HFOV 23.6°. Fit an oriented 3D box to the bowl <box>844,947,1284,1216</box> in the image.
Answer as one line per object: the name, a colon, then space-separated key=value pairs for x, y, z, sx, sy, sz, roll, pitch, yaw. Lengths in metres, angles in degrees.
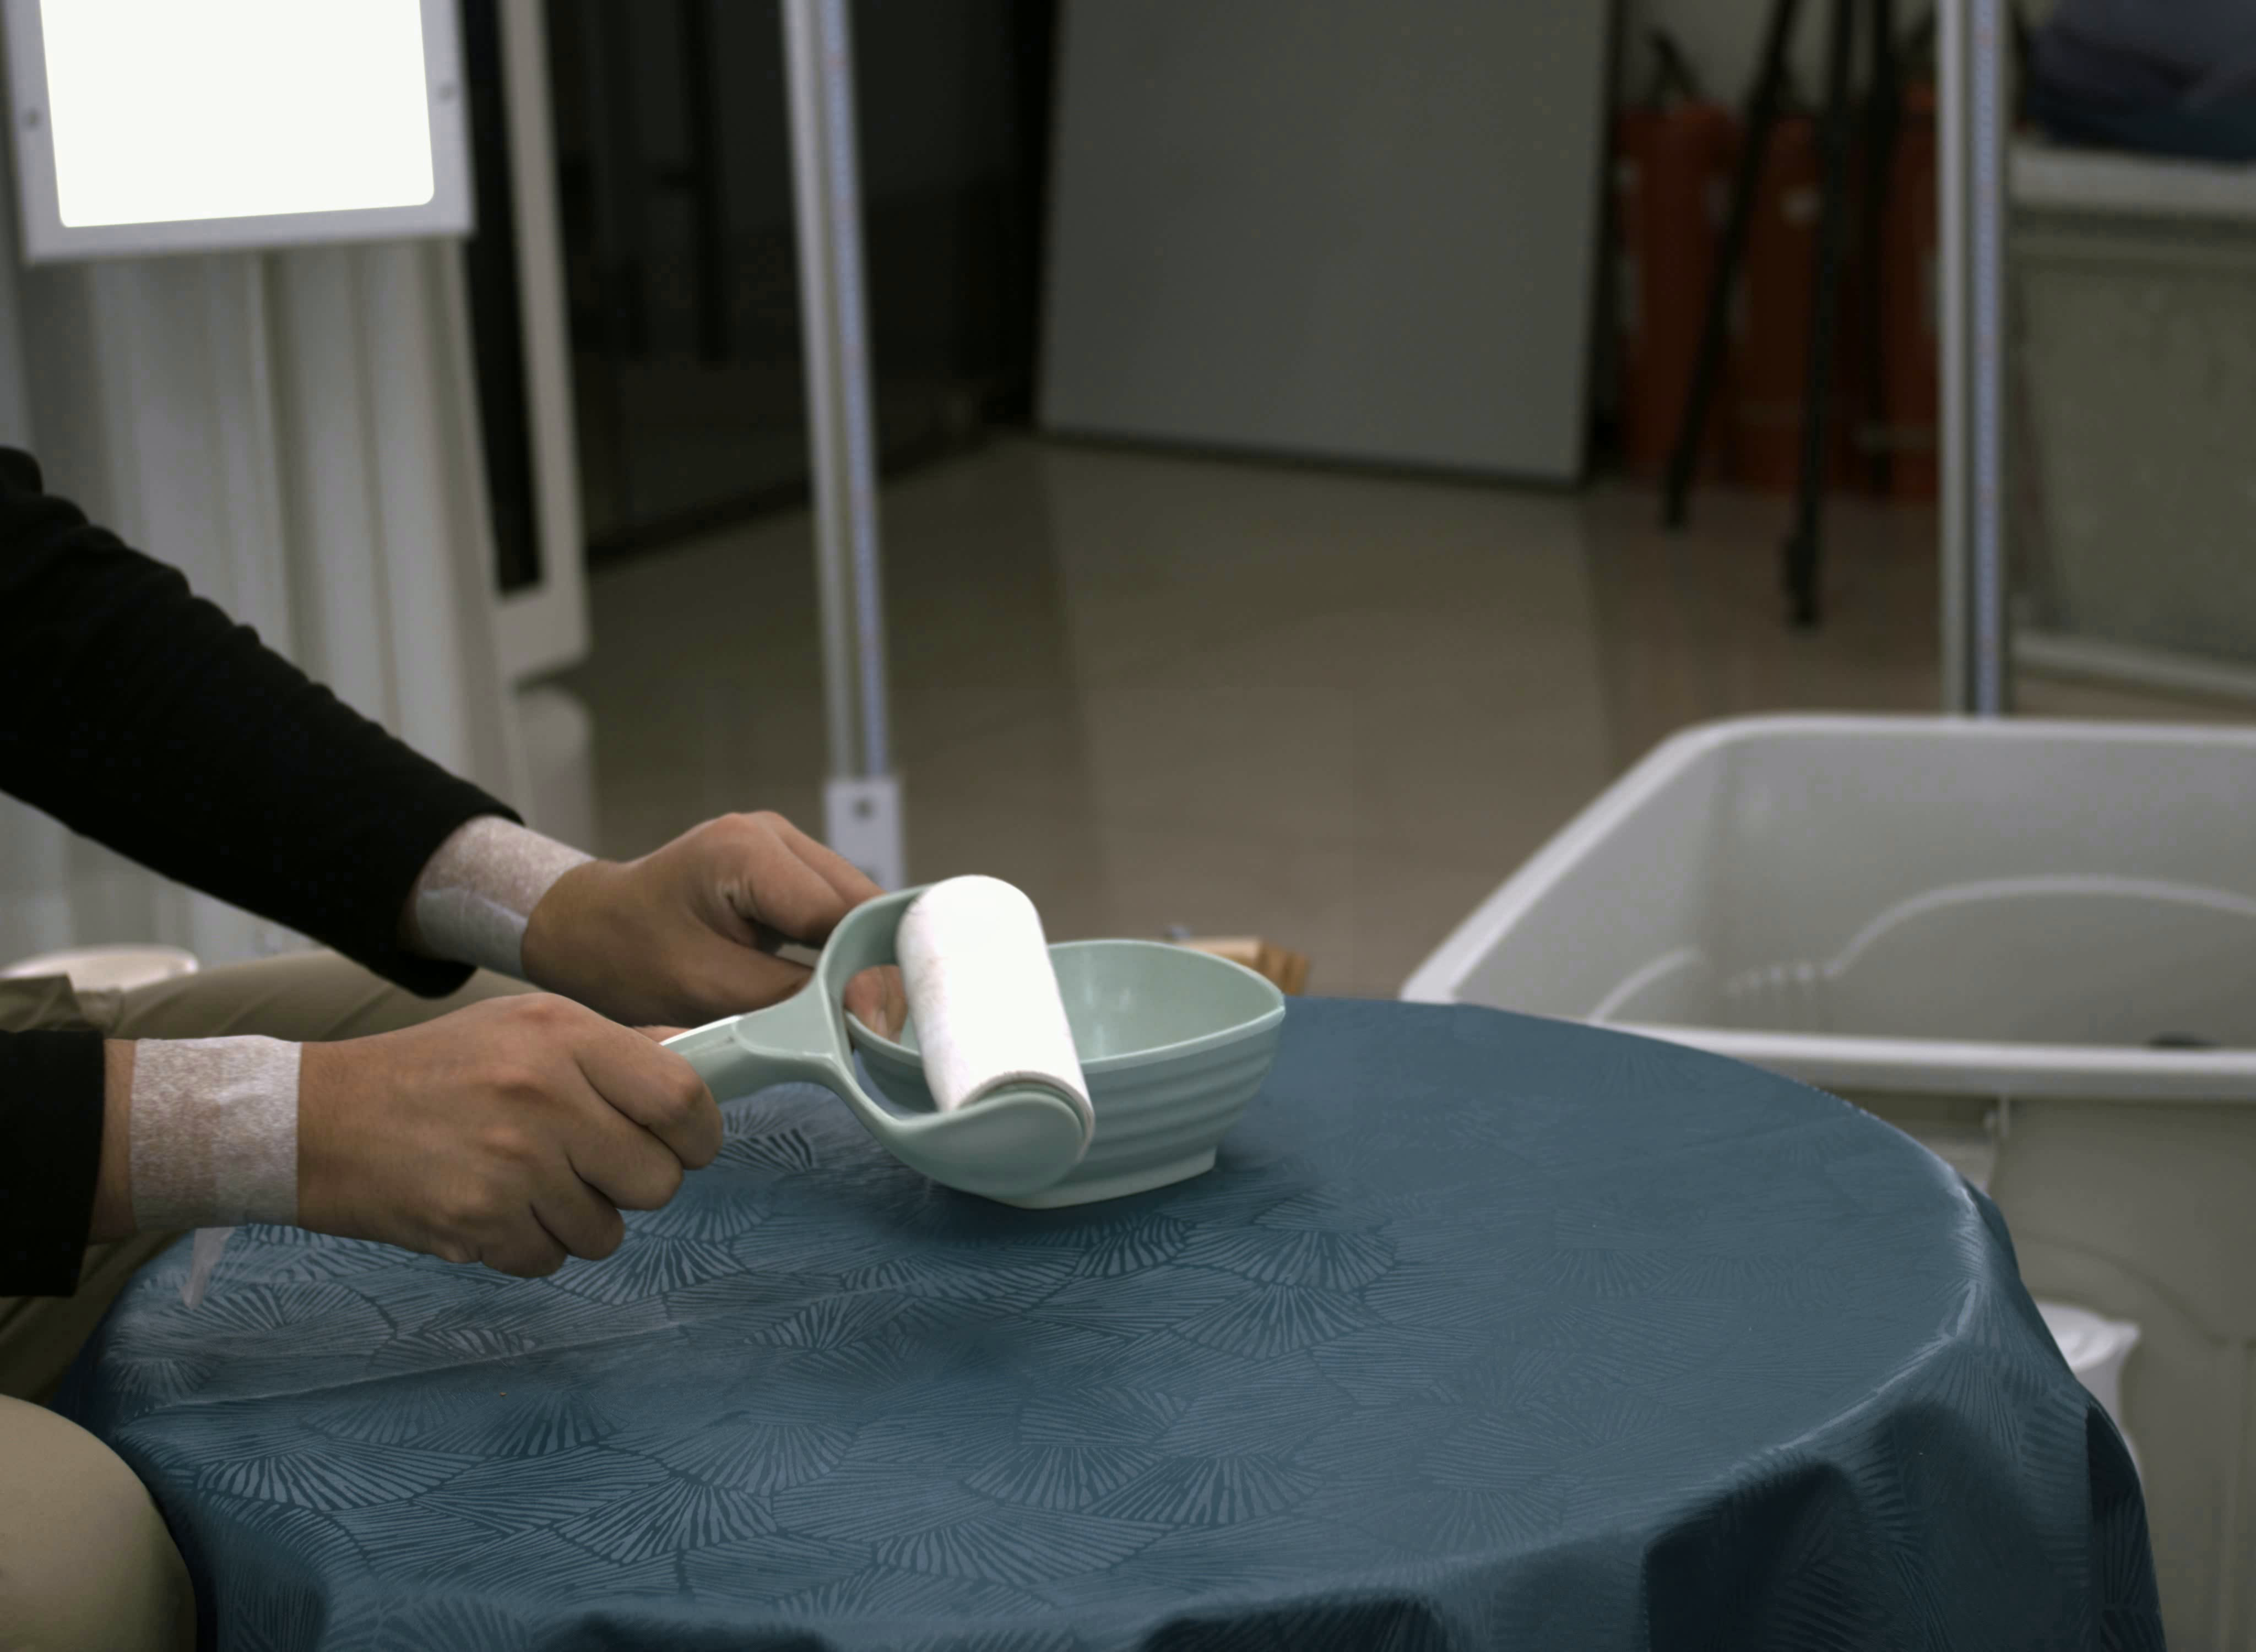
bowl: x=-0.020 y=0.087 z=1.795 sx=0.149 sy=0.059 sz=0.152 roll=-3 pitch=14 yaw=0

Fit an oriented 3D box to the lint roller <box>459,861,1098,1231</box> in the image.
lint roller: x=-0.112 y=0.076 z=1.652 sx=0.195 sy=0.048 sz=0.118 roll=-14 pitch=38 yaw=-2
